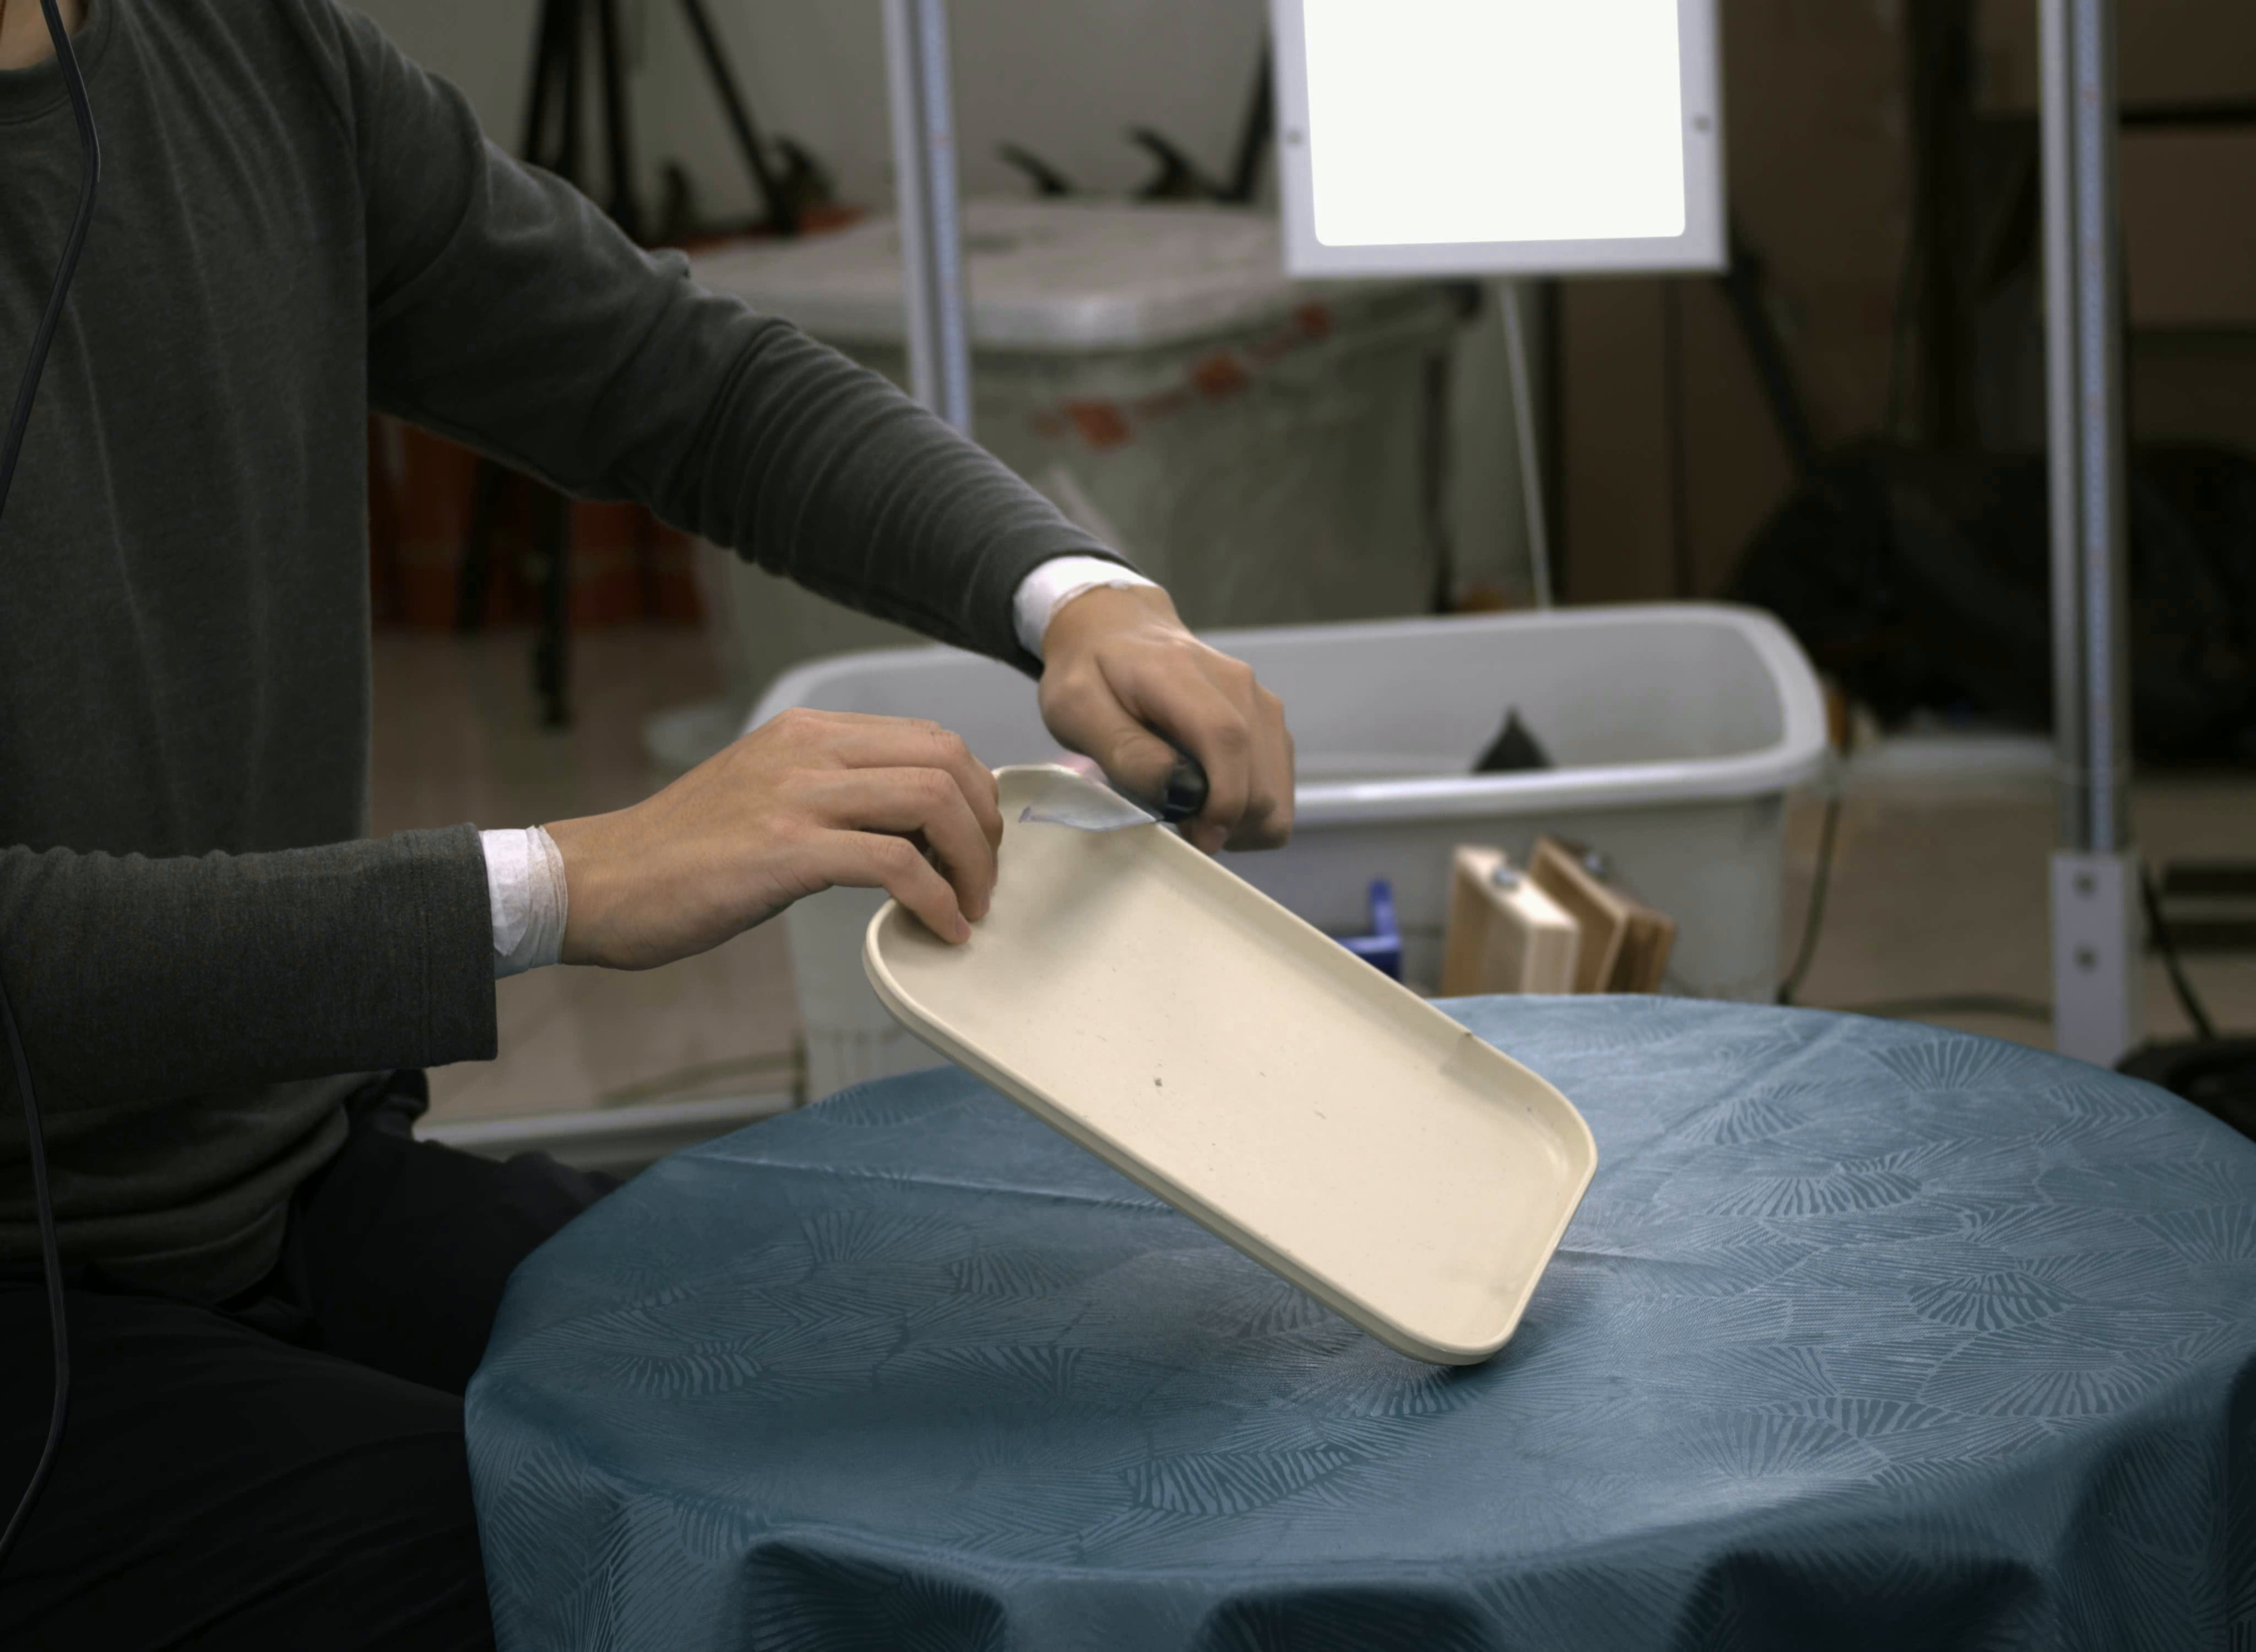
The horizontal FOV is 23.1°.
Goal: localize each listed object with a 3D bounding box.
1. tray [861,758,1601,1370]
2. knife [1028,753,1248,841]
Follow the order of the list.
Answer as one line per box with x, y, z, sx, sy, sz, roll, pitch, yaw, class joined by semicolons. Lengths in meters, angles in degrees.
0.034;0.075;1.759;0.240;0.018;0.168;33;33;4;tray
0.001;-0.009;1.831;0.024;0.016;0.234;34;13;11;knife
